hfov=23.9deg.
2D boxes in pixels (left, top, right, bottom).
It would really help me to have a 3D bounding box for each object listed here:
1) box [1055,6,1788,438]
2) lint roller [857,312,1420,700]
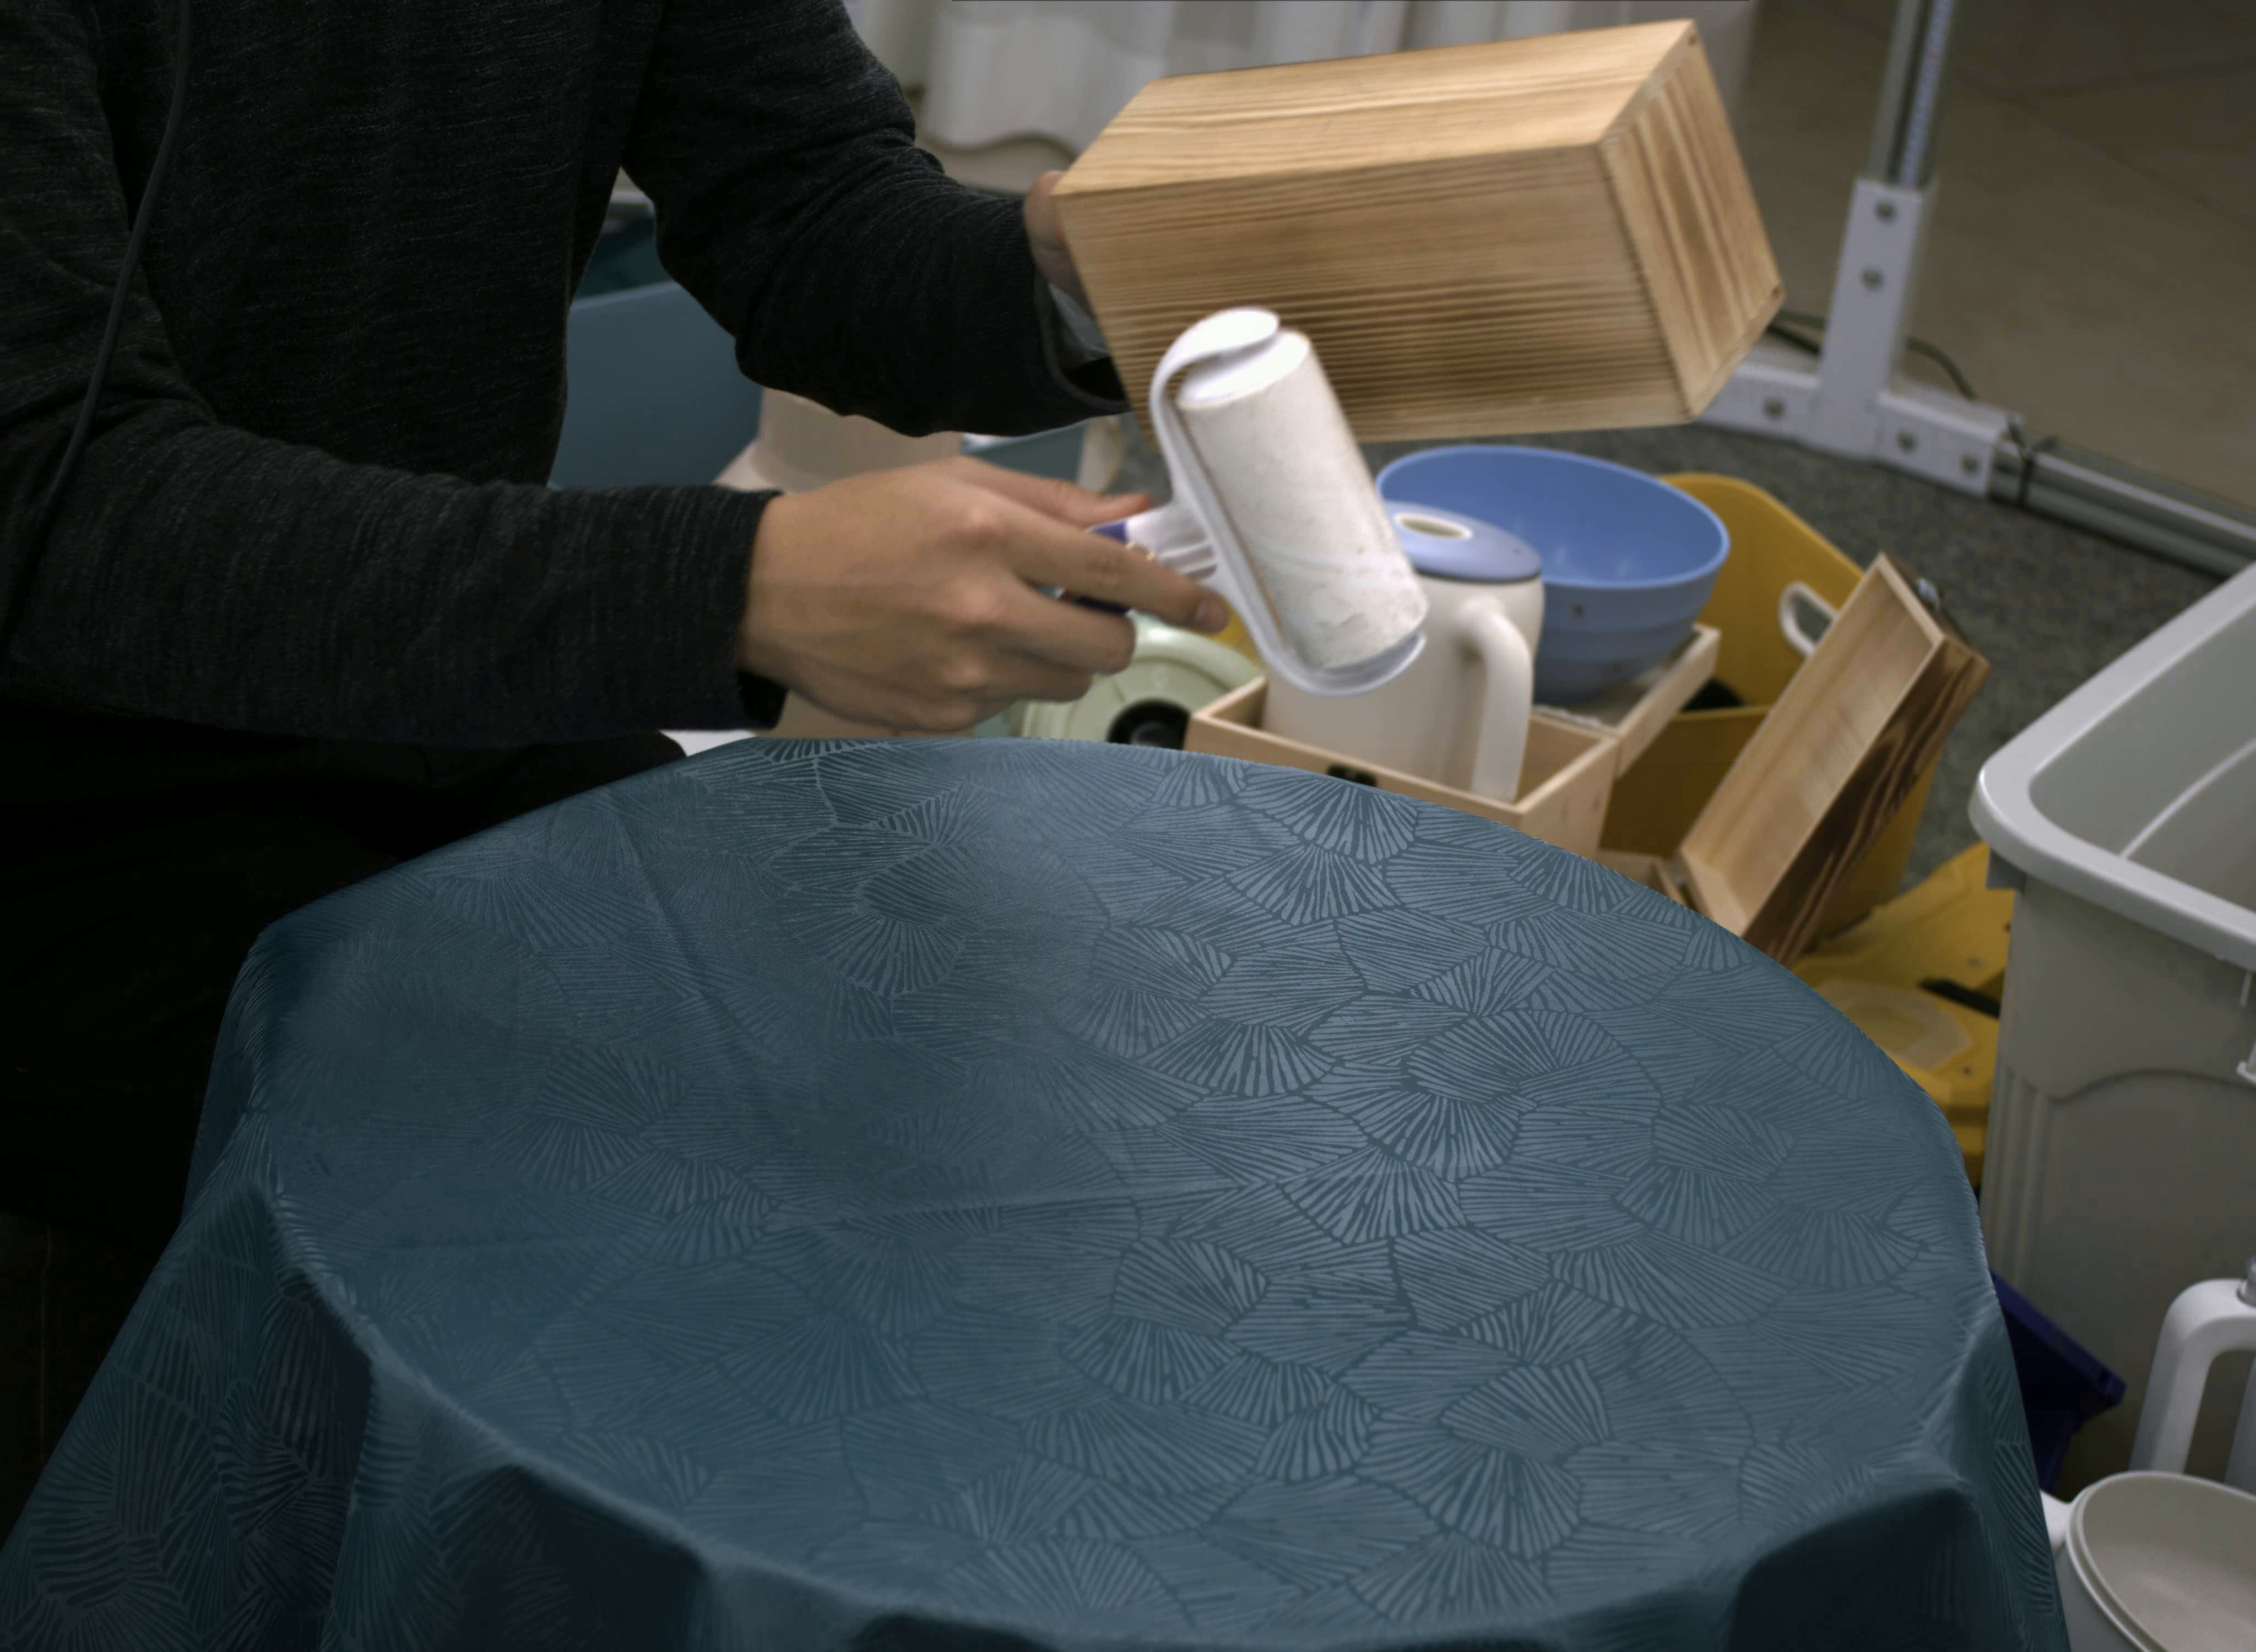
[{"bbox_3d":[0.096,-0.195,1.761,0.212,0.107,0.080,-1,35,34],"label":"box"},{"bbox_3d":[-0.008,-0.080,1.709,0.180,0.132,0.050,-20,23,11],"label":"lint roller"}]
